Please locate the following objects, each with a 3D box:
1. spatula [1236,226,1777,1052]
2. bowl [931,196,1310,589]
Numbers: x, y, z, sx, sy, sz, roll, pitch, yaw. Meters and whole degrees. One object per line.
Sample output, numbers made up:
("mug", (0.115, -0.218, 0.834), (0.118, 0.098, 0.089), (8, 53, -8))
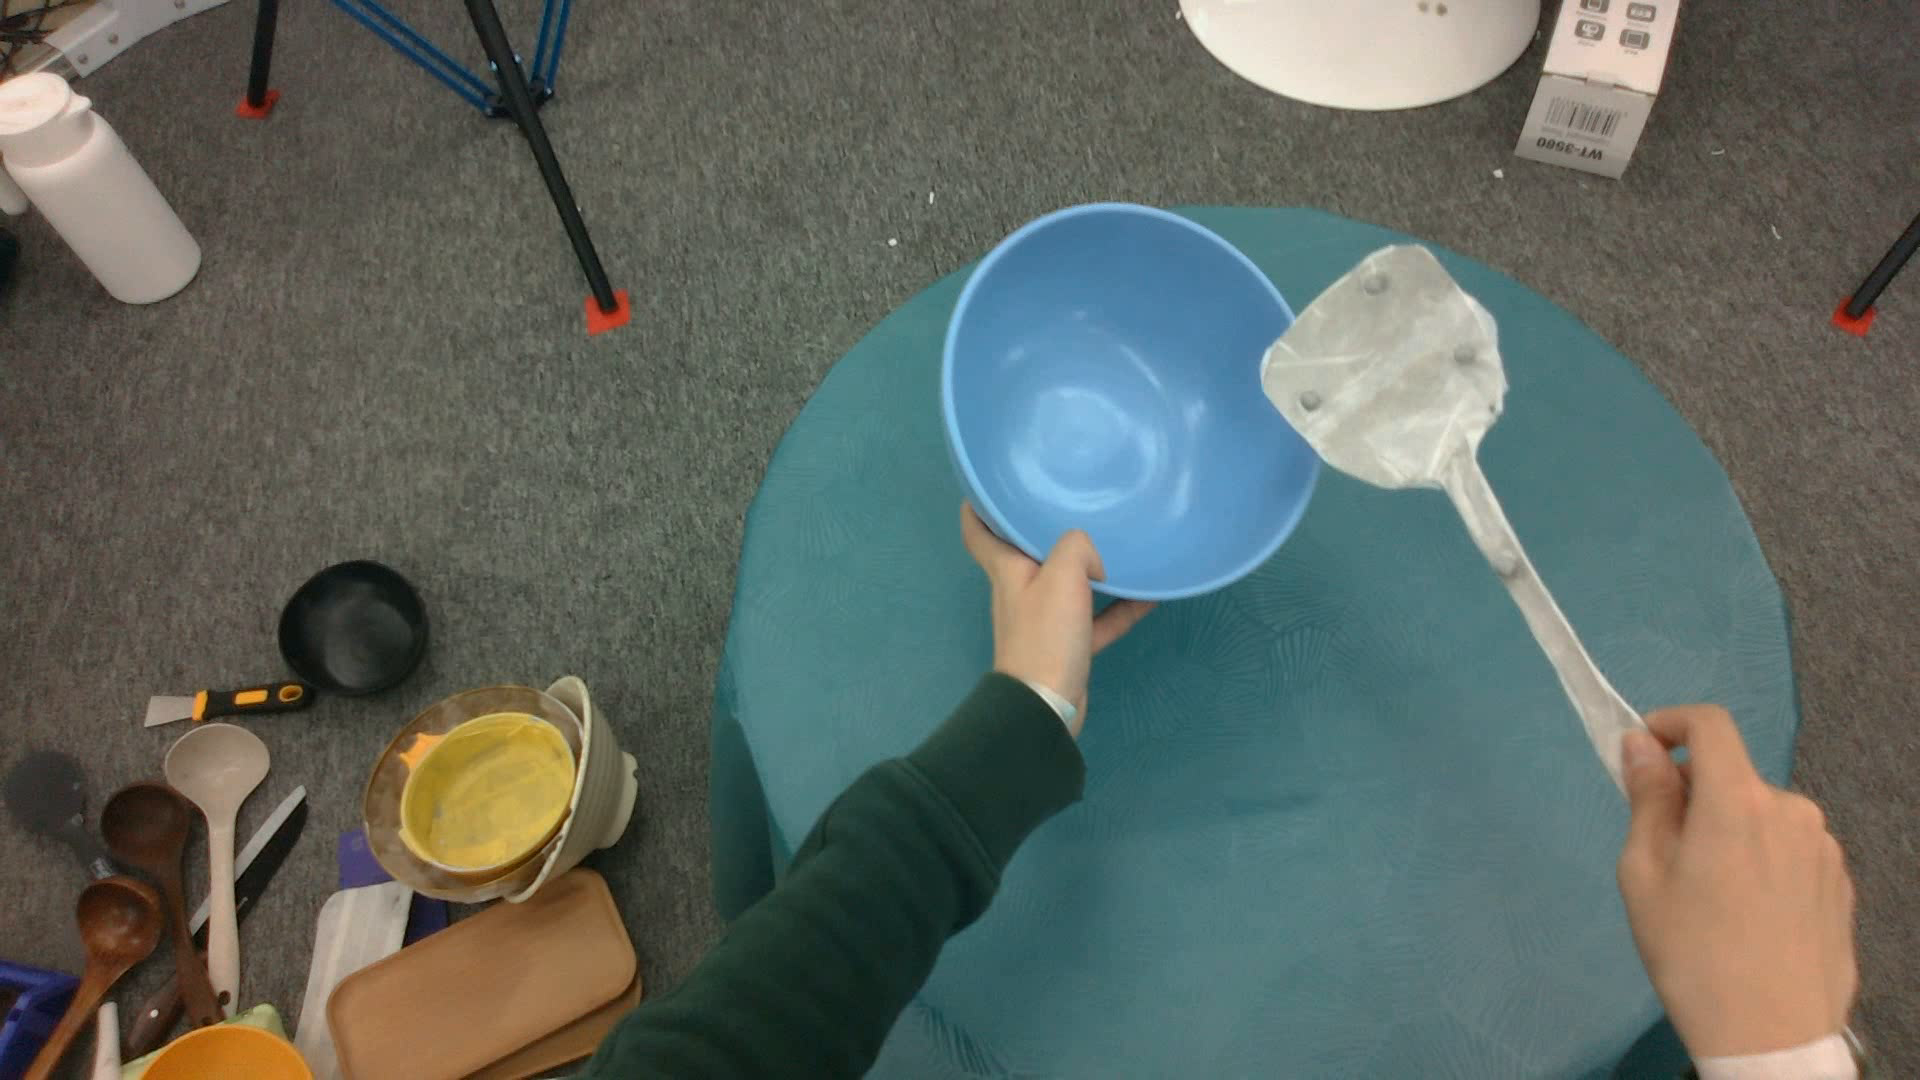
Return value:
("spatula", (0.220, 0.023, 0.559), (0.098, 0.045, 0.366), (-40, 51, 29))
("bowl", (0.069, -0.065, 0.705), (0.197, 0.095, 0.197), (4, 77, -17))
